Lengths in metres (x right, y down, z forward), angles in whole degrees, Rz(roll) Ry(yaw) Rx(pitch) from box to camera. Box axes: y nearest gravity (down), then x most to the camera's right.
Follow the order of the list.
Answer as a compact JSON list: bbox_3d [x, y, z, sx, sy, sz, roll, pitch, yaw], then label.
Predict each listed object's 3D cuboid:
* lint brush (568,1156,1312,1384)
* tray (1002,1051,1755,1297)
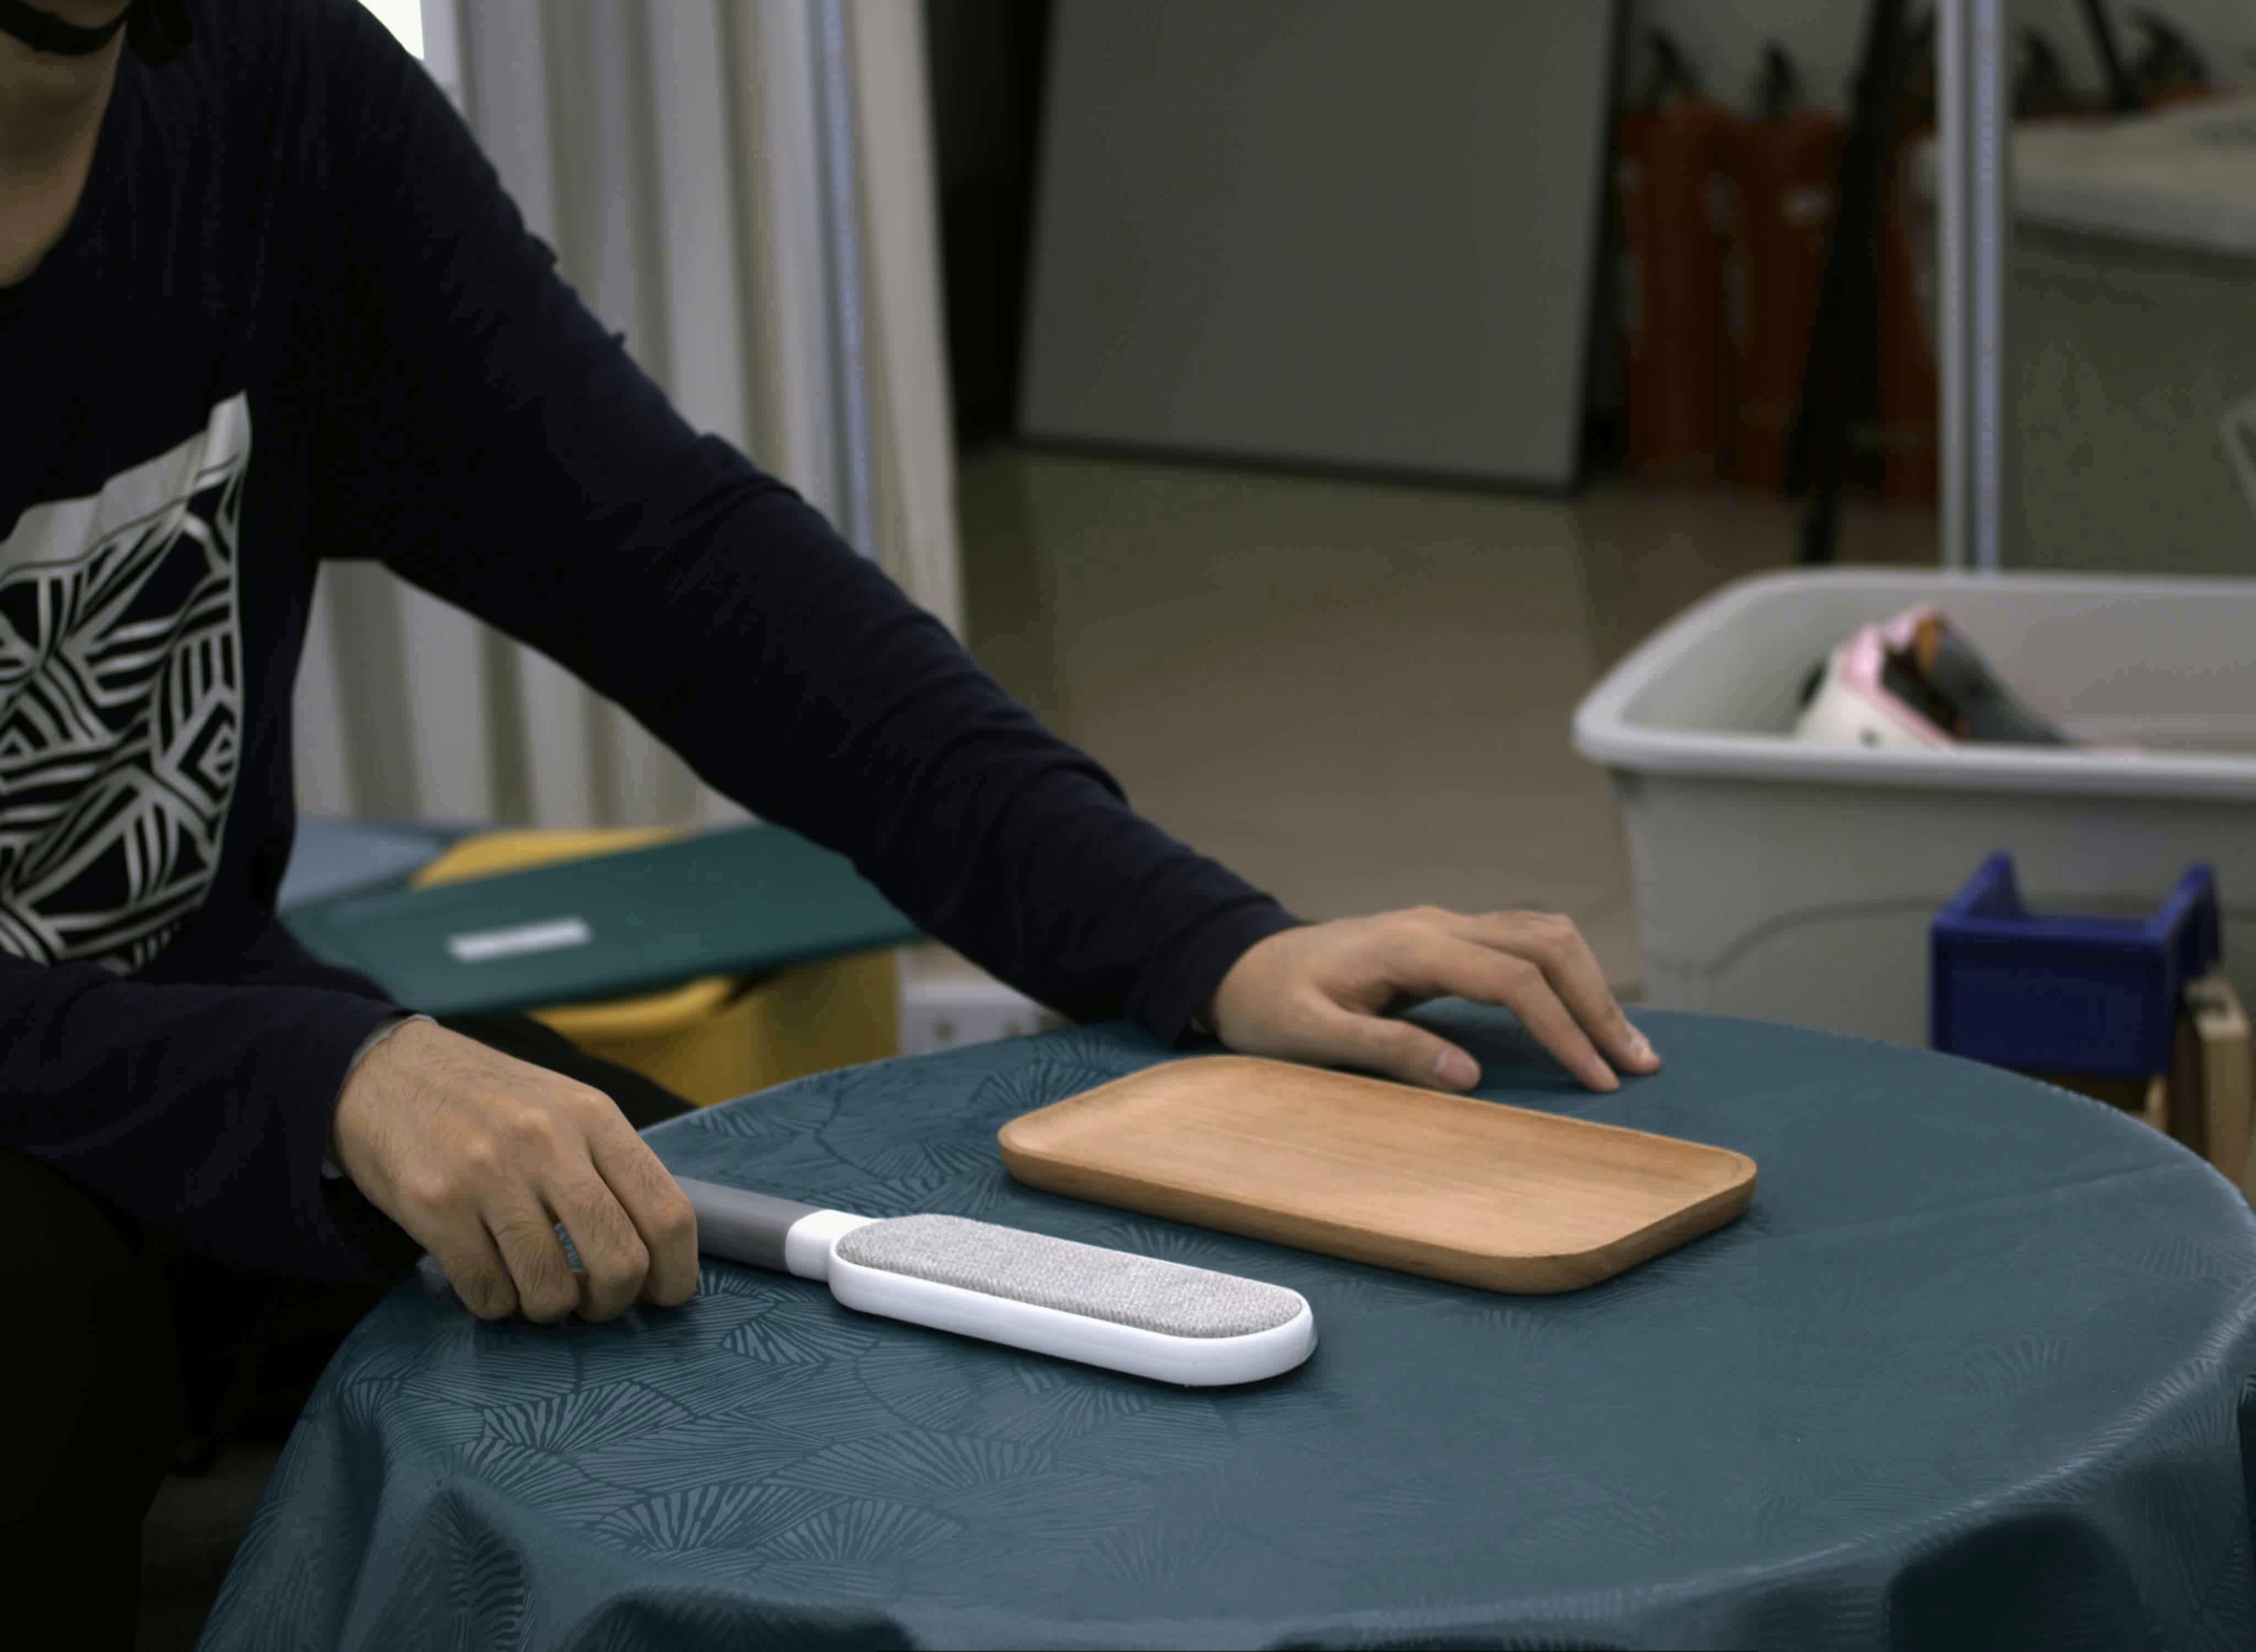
[{"bbox_3d":[-0.065,0.135,1.682,0.311,0.021,0.059,8,23,42],"label":"lint brush"},{"bbox_3d":[0.079,0.111,1.756,0.128,0.023,0.253,-14,16,-43],"label":"tray"}]
